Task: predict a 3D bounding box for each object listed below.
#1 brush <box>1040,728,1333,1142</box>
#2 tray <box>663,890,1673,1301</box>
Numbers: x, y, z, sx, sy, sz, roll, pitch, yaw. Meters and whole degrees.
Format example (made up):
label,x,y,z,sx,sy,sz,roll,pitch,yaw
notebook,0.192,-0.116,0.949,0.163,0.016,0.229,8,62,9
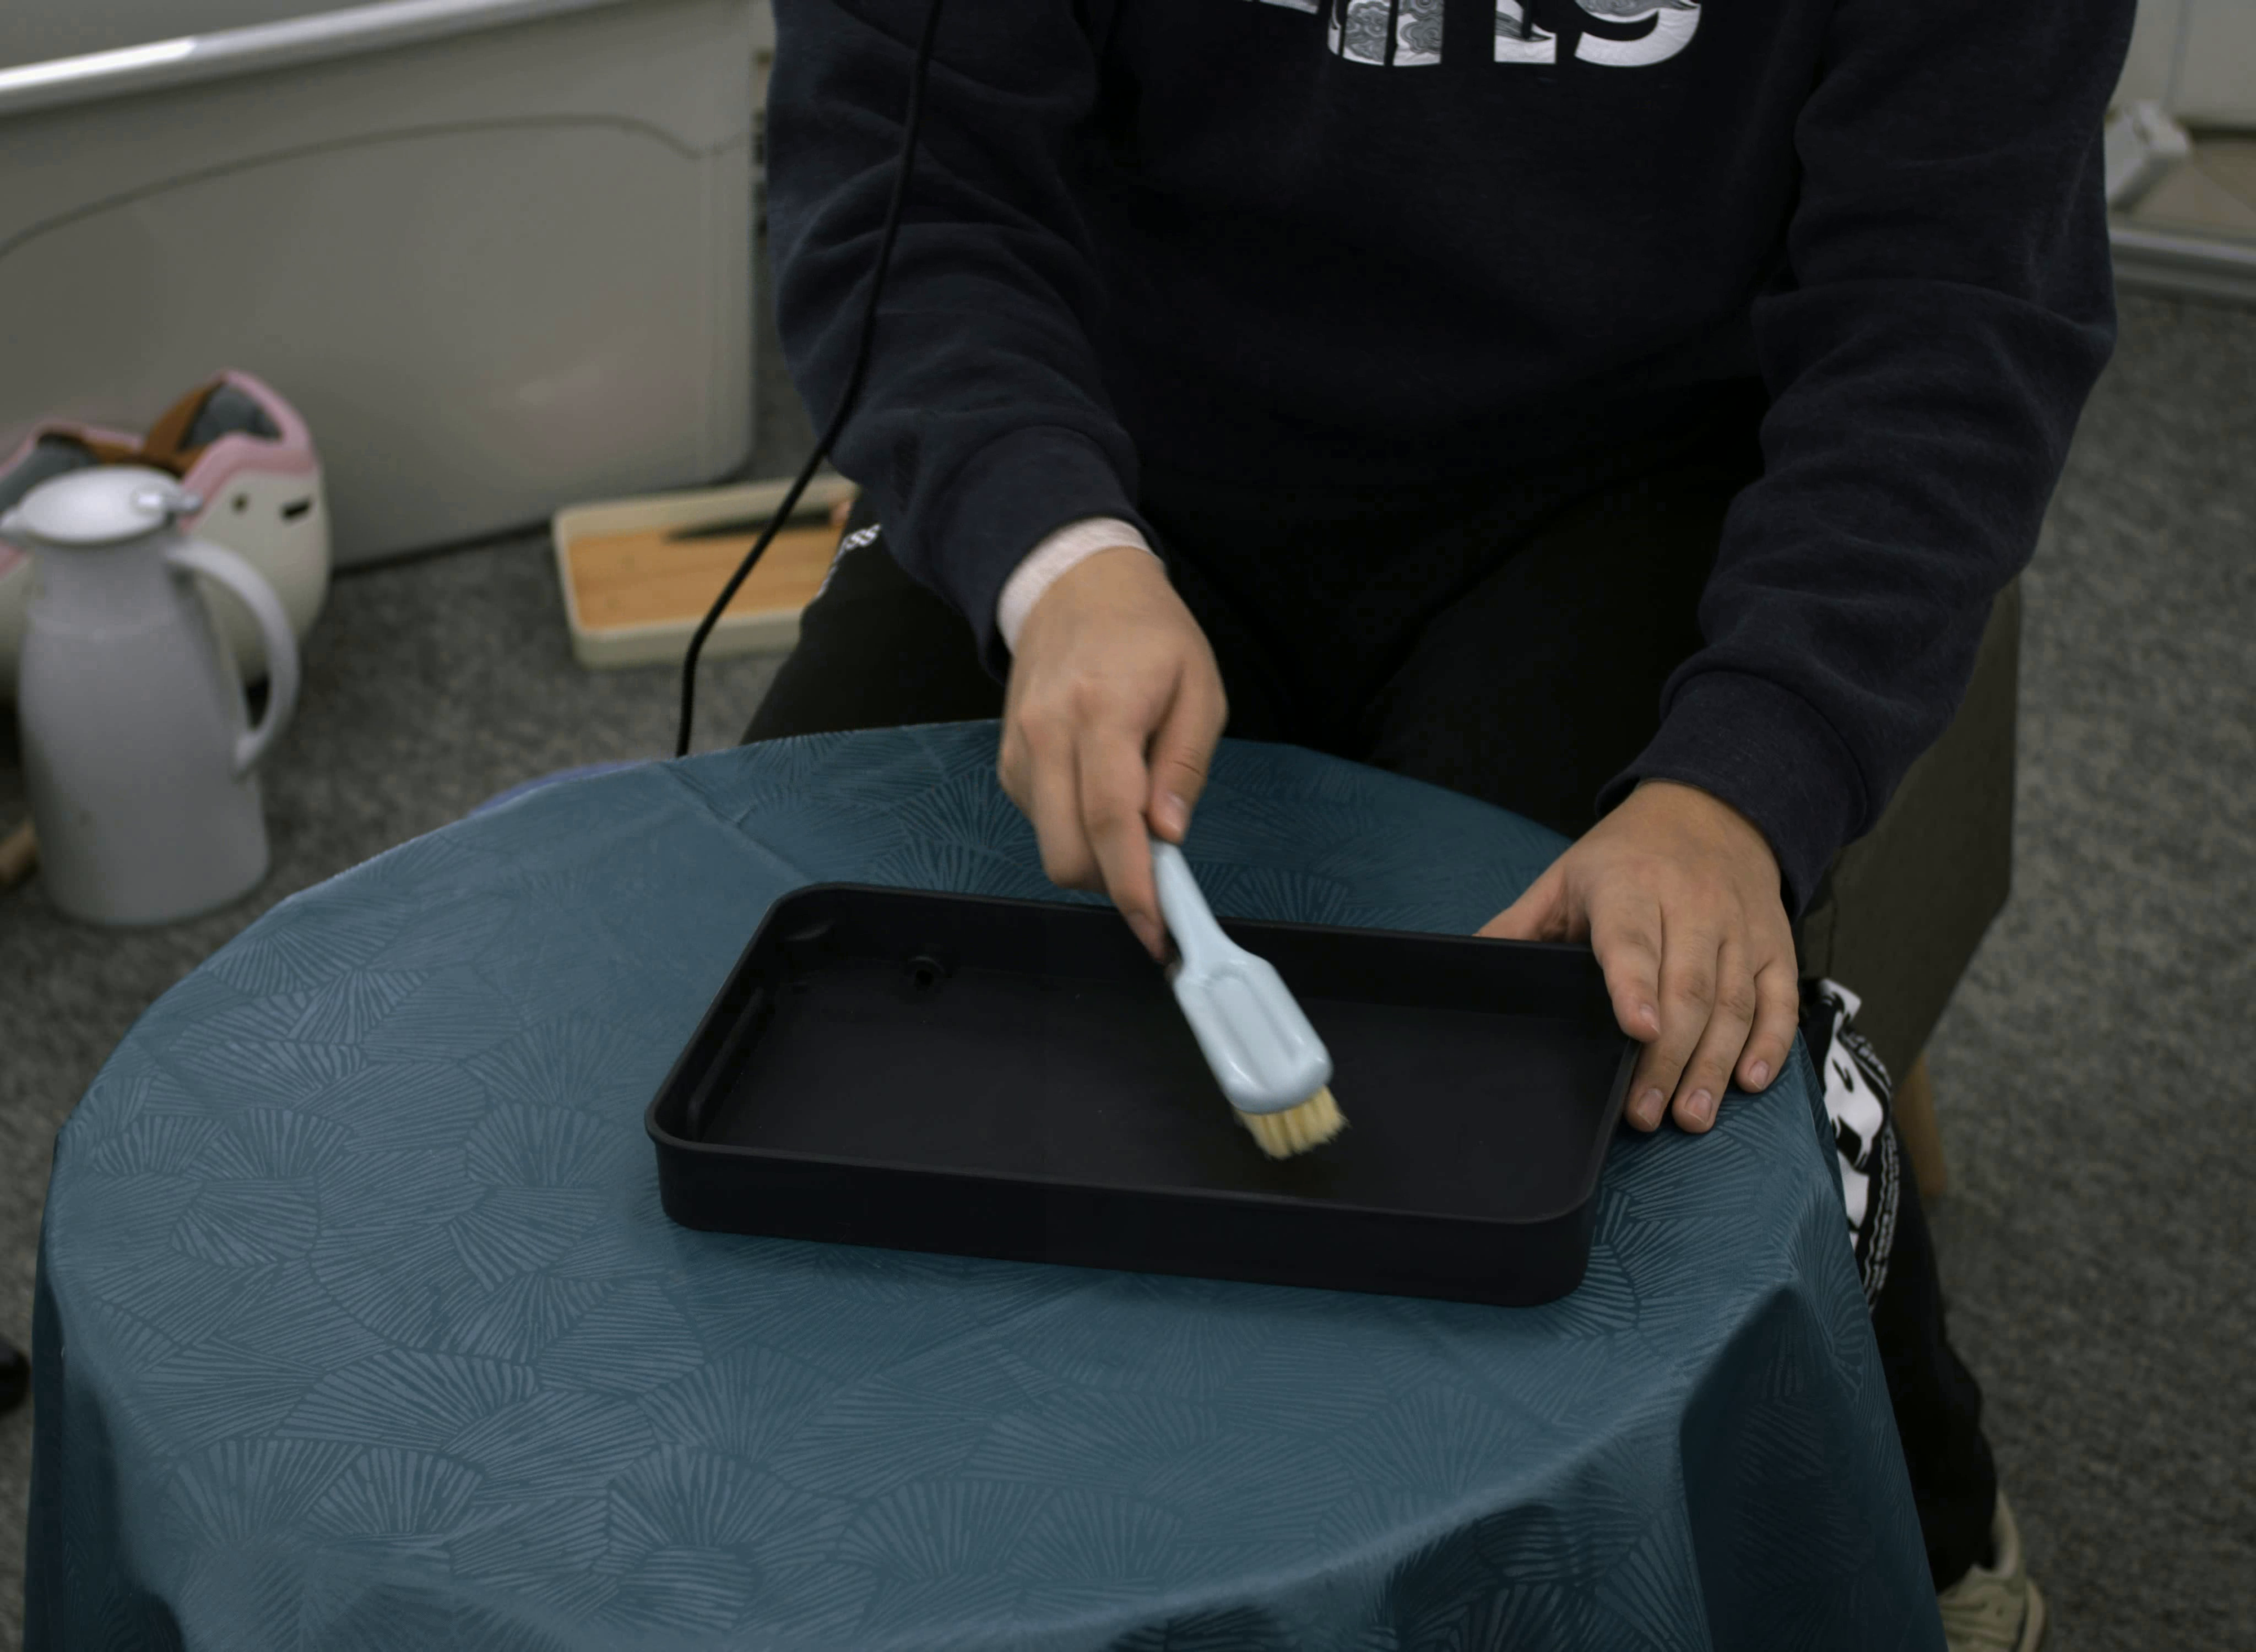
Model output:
label,x,y,z,sx,sy,sz,roll,pitch,yaw
brush,0.016,0.034,1.924,0.038,0.049,0.231,-29,40,-4
tray,0.017,0.088,1.890,0.316,0.036,0.187,3,27,12
